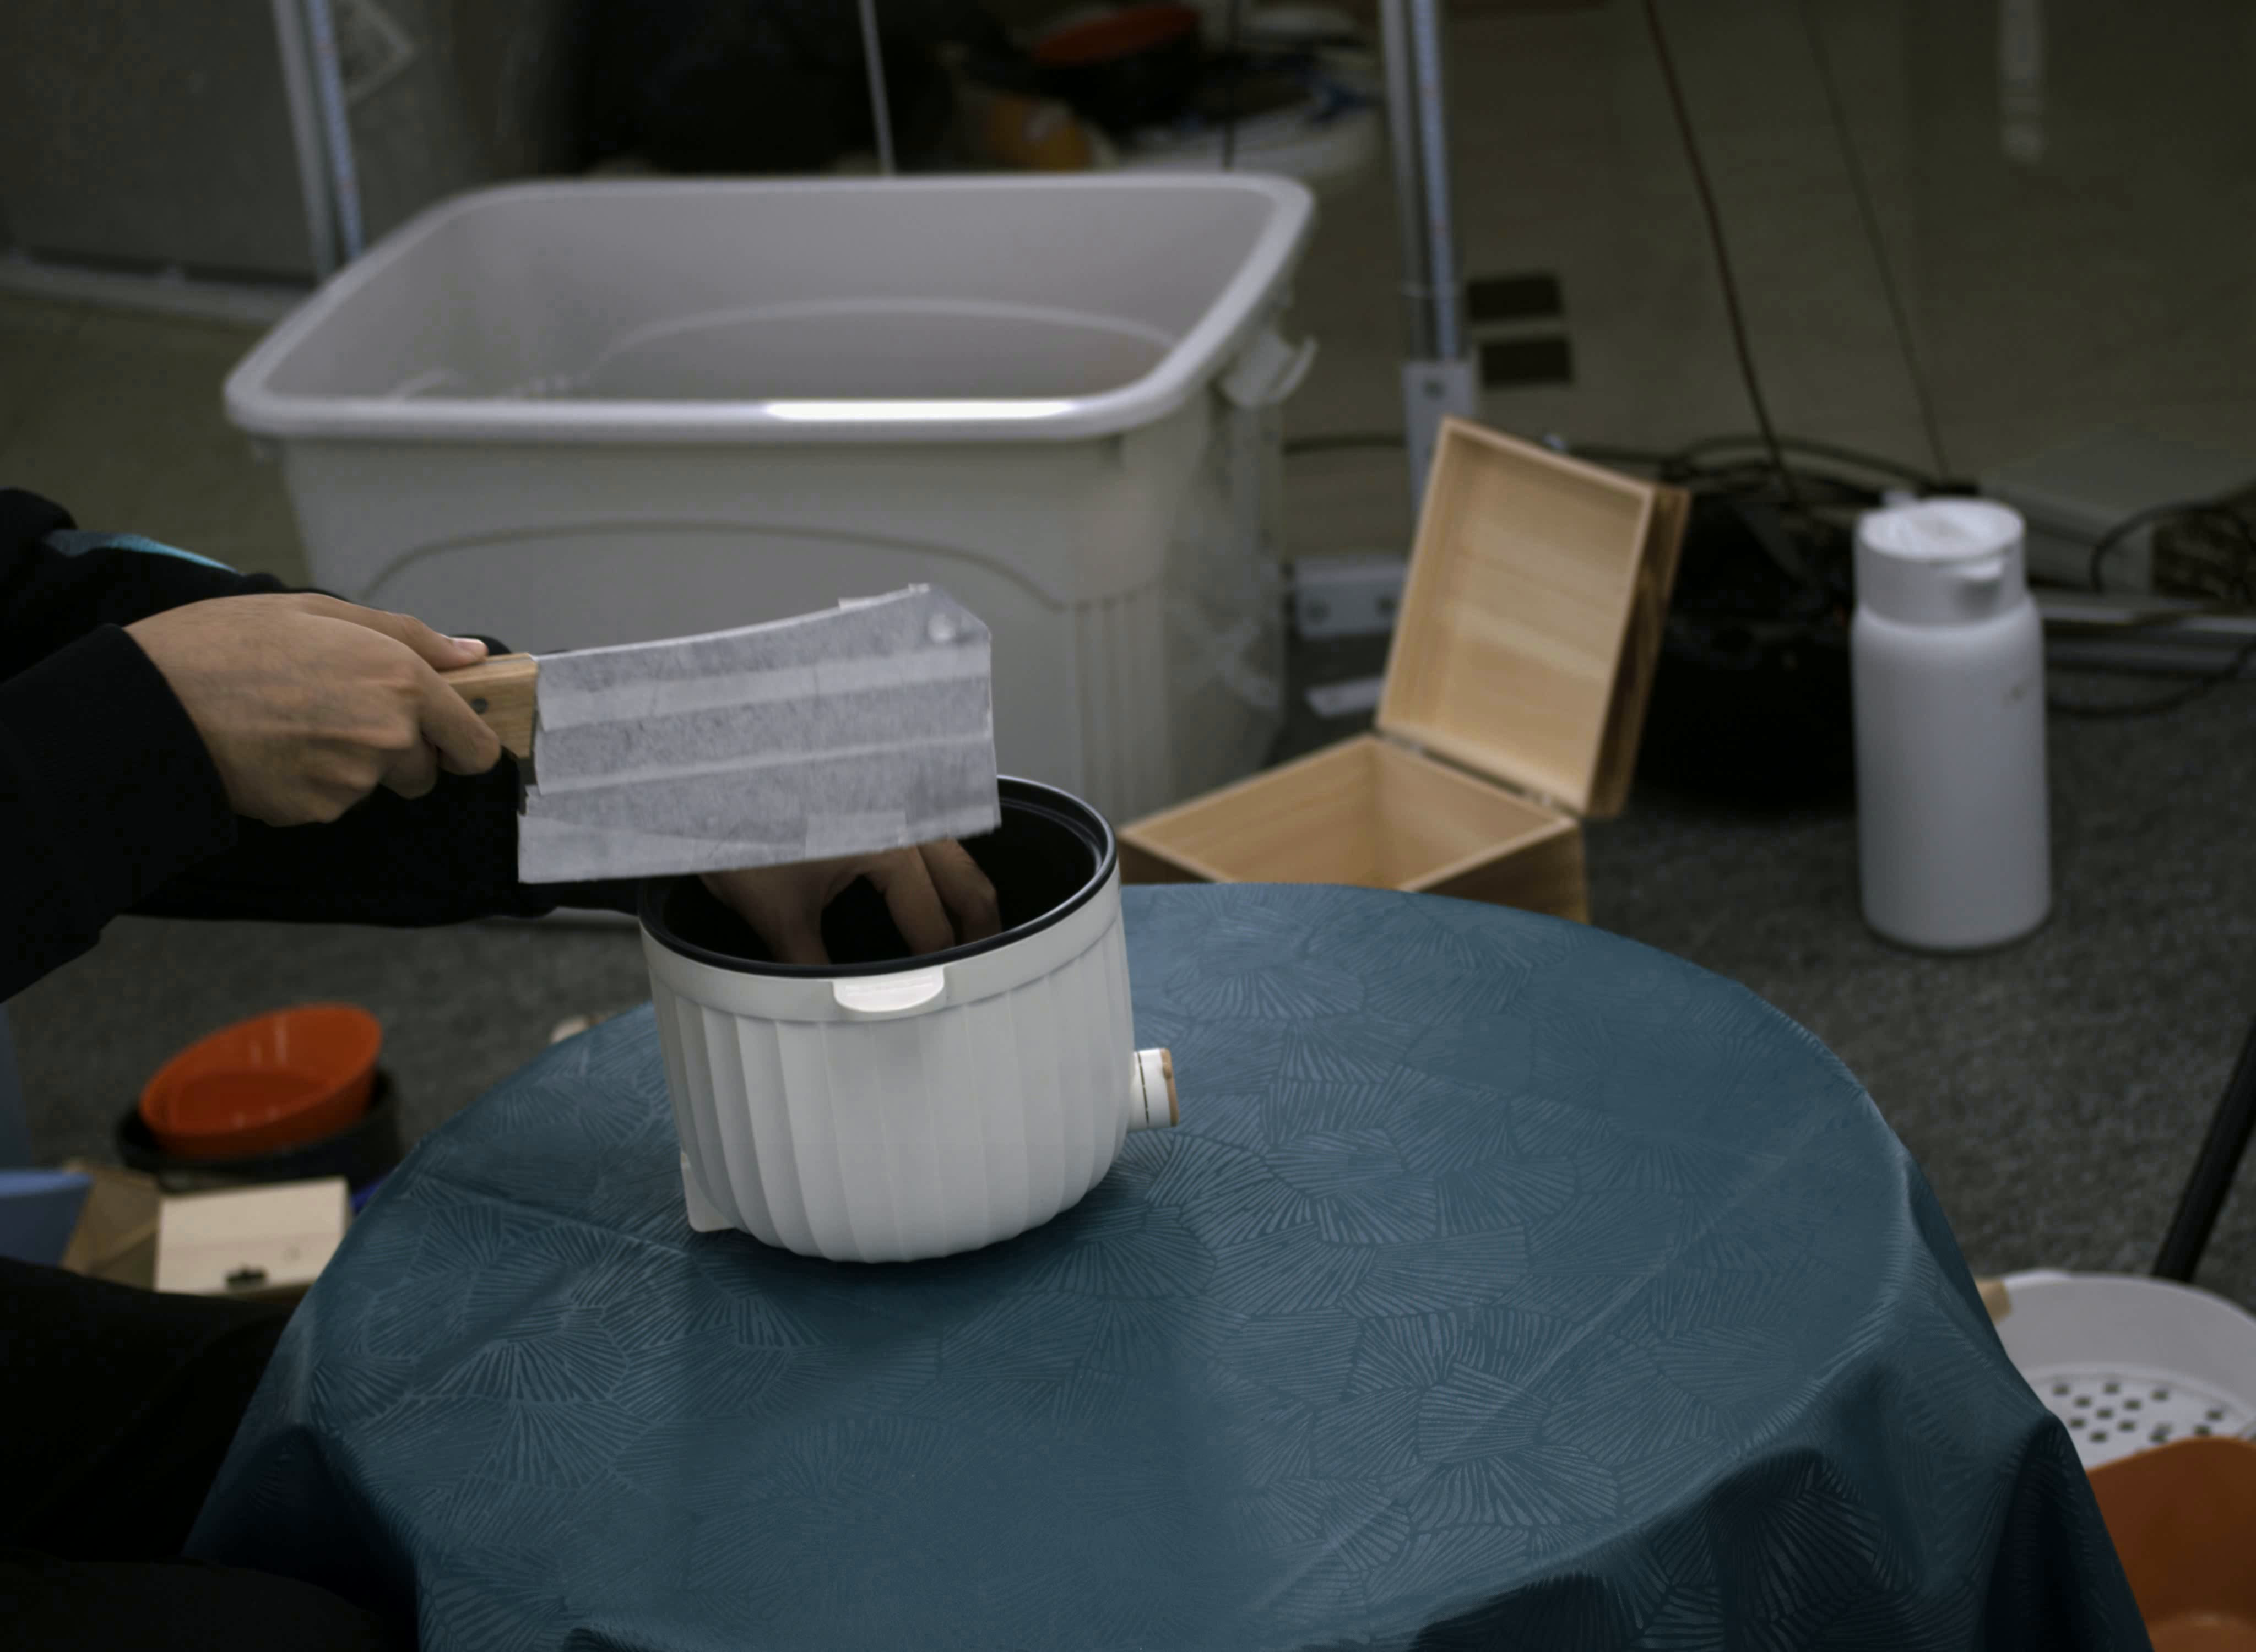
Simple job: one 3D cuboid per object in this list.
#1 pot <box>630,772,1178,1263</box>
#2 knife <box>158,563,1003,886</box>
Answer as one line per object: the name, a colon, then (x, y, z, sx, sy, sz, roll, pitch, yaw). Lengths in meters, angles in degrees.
pot: (-0.083, 0.074, 2.135, 0.190, 0.145, 0.237, -10, 25, -1)
knife: (-0.190, -0.034, 2.022, 0.315, 0.115, 0.021, -4, 22, -22)
